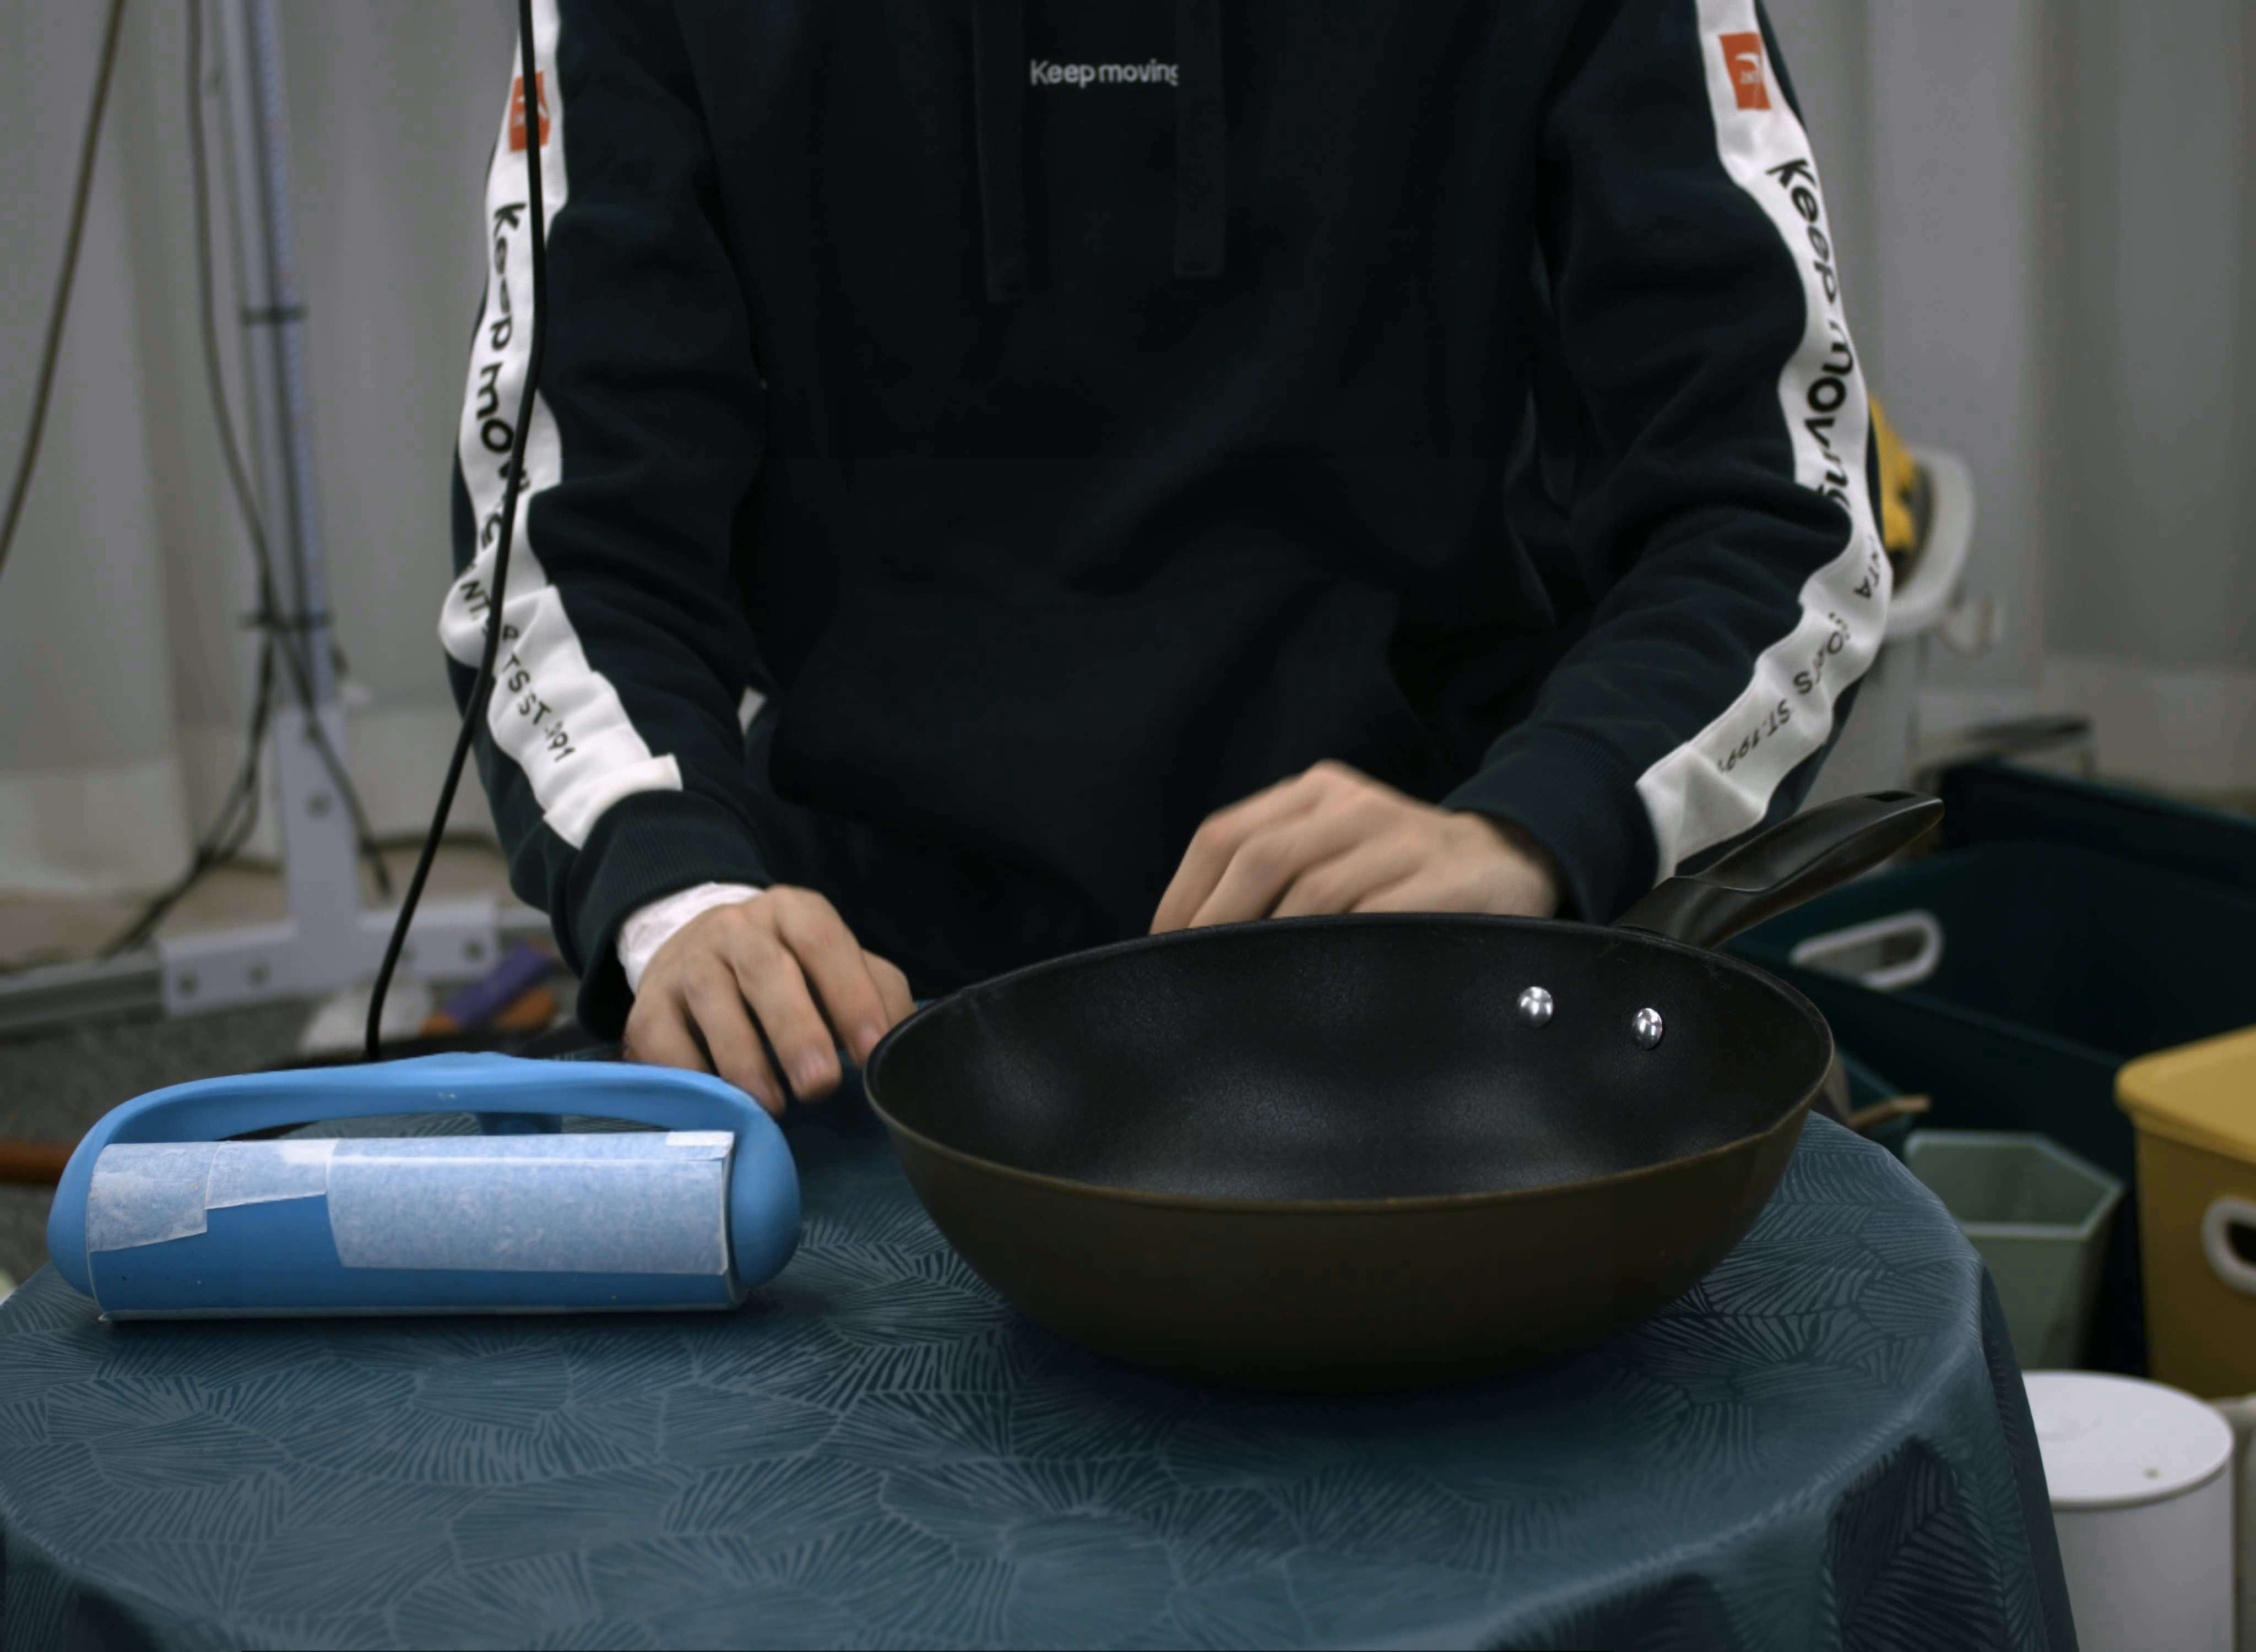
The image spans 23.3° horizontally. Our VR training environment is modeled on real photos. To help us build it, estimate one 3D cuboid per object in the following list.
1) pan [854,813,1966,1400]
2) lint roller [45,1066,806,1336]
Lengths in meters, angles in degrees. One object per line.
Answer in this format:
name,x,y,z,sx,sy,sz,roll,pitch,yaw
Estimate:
pan,0.119,0.081,1.659,0.289,0.086,0.463,10,19,38
lint roller,-0.208,0.105,1.687,0.228,0.067,0.181,-4,15,3
